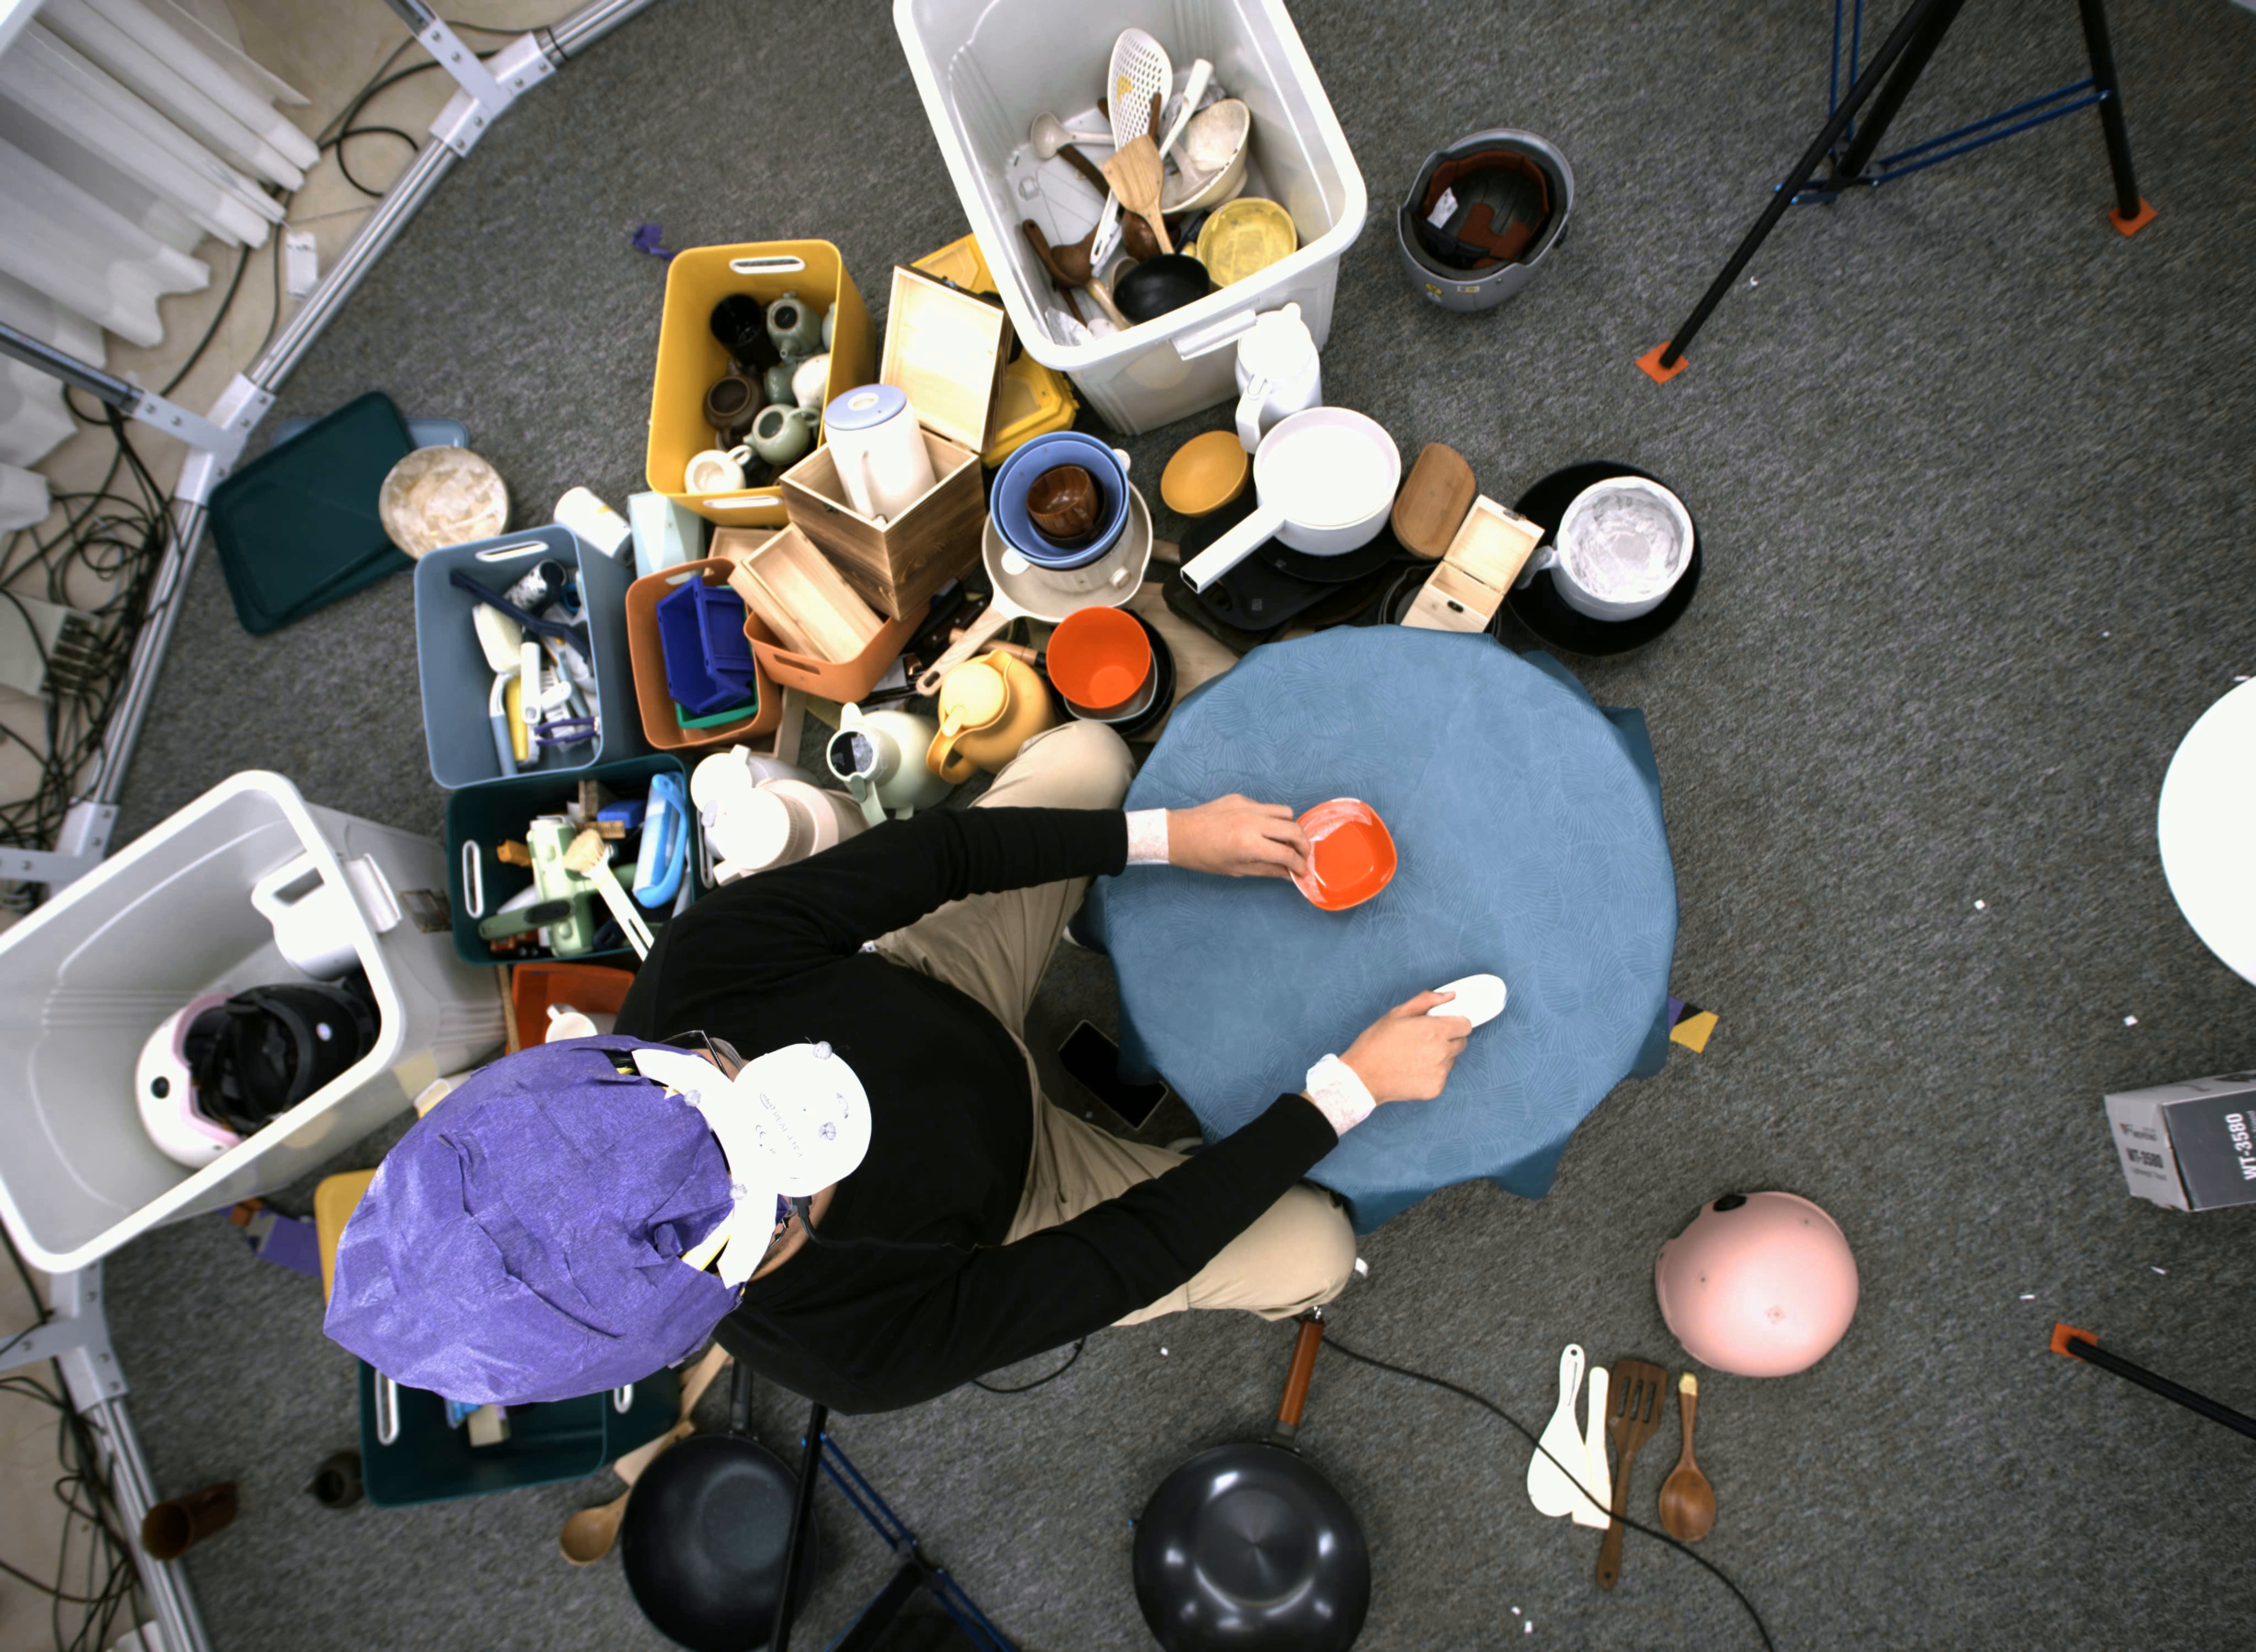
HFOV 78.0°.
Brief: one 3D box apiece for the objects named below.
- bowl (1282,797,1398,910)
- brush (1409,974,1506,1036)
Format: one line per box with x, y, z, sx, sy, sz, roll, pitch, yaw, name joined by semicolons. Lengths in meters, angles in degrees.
0.221;0.029;1.444;0.119;0.051;0.118;-1;86;7;bowl
0.336;0.181;1.404;0.100;0.072;0.050;-20;82;8;brush
